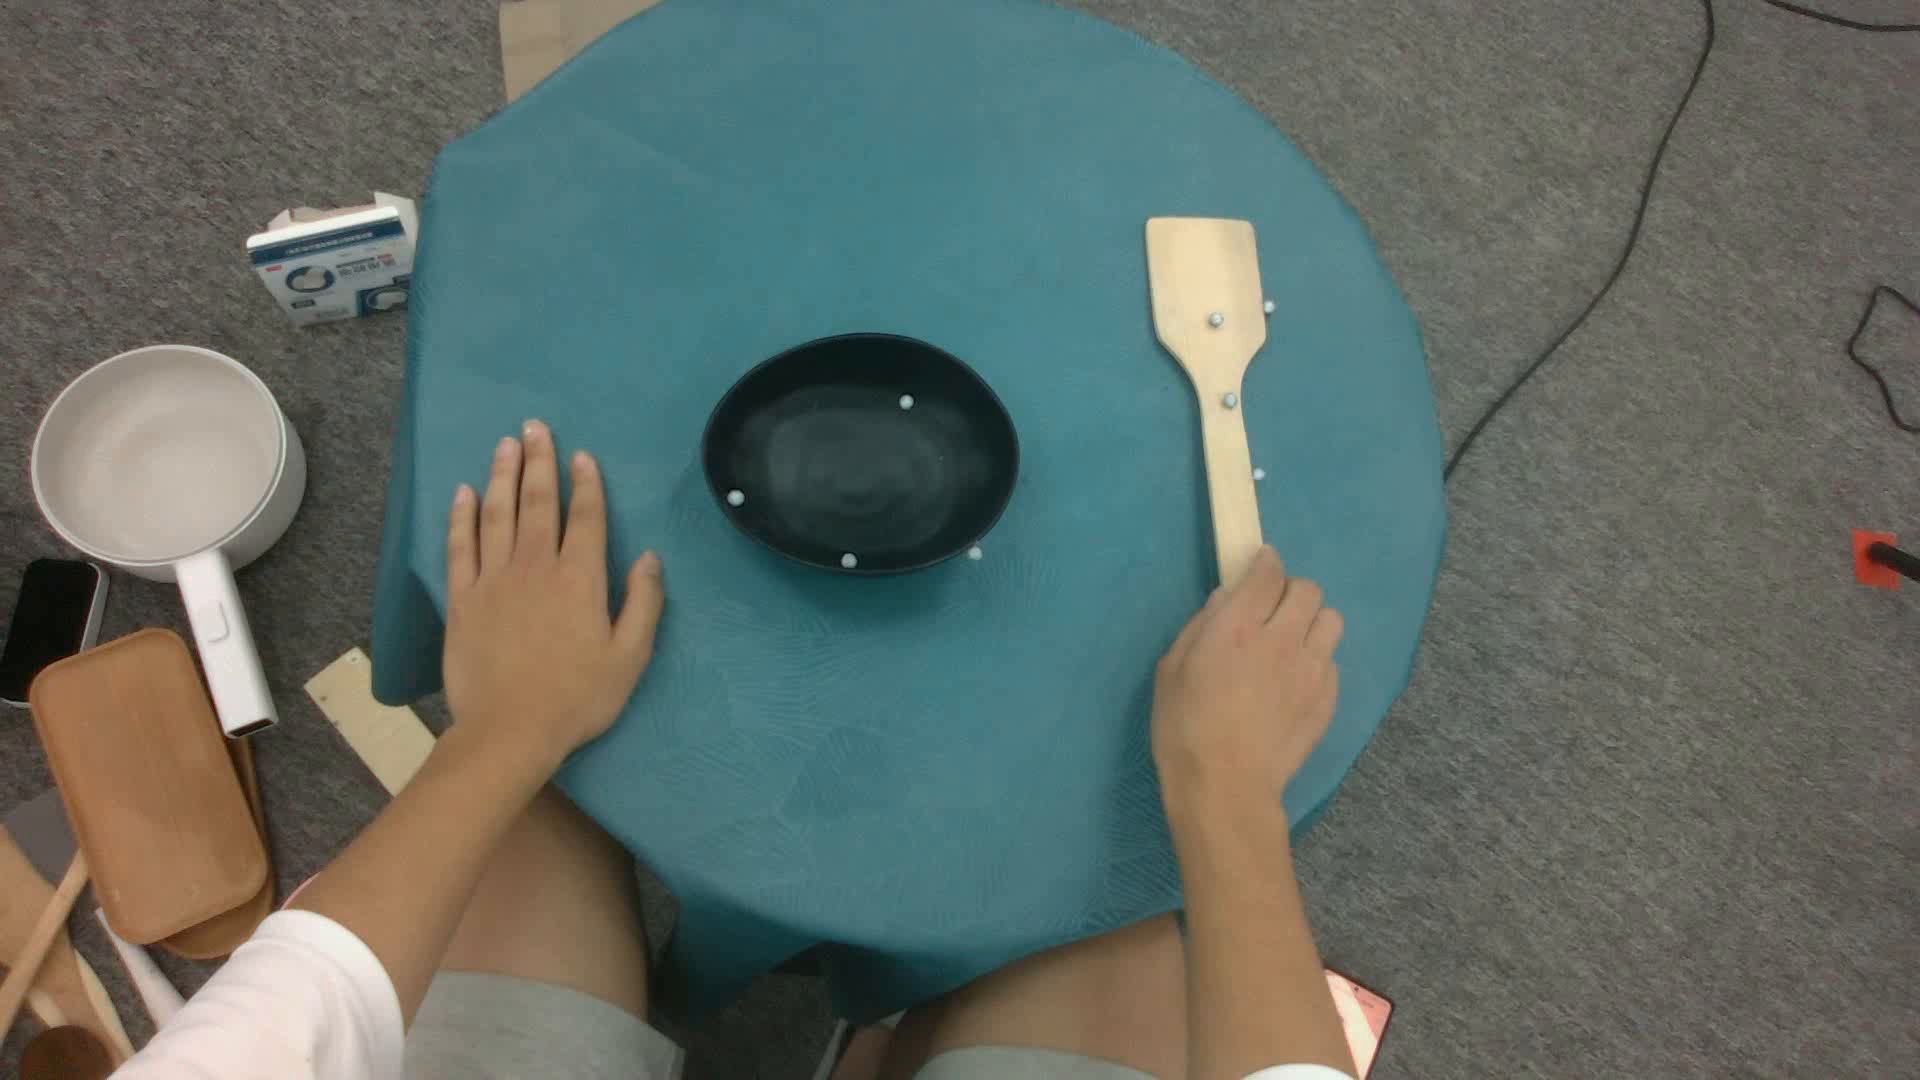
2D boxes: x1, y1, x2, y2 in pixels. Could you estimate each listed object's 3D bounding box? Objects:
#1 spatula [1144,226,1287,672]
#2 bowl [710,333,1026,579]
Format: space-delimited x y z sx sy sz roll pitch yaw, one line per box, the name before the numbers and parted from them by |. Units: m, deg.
spatula | 0.160 -0.062 0.817 0.072 0.010 0.294 -1 67 -8
bowl | -0.051 -0.039 0.762 0.170 0.066 0.137 -2 74 -7
